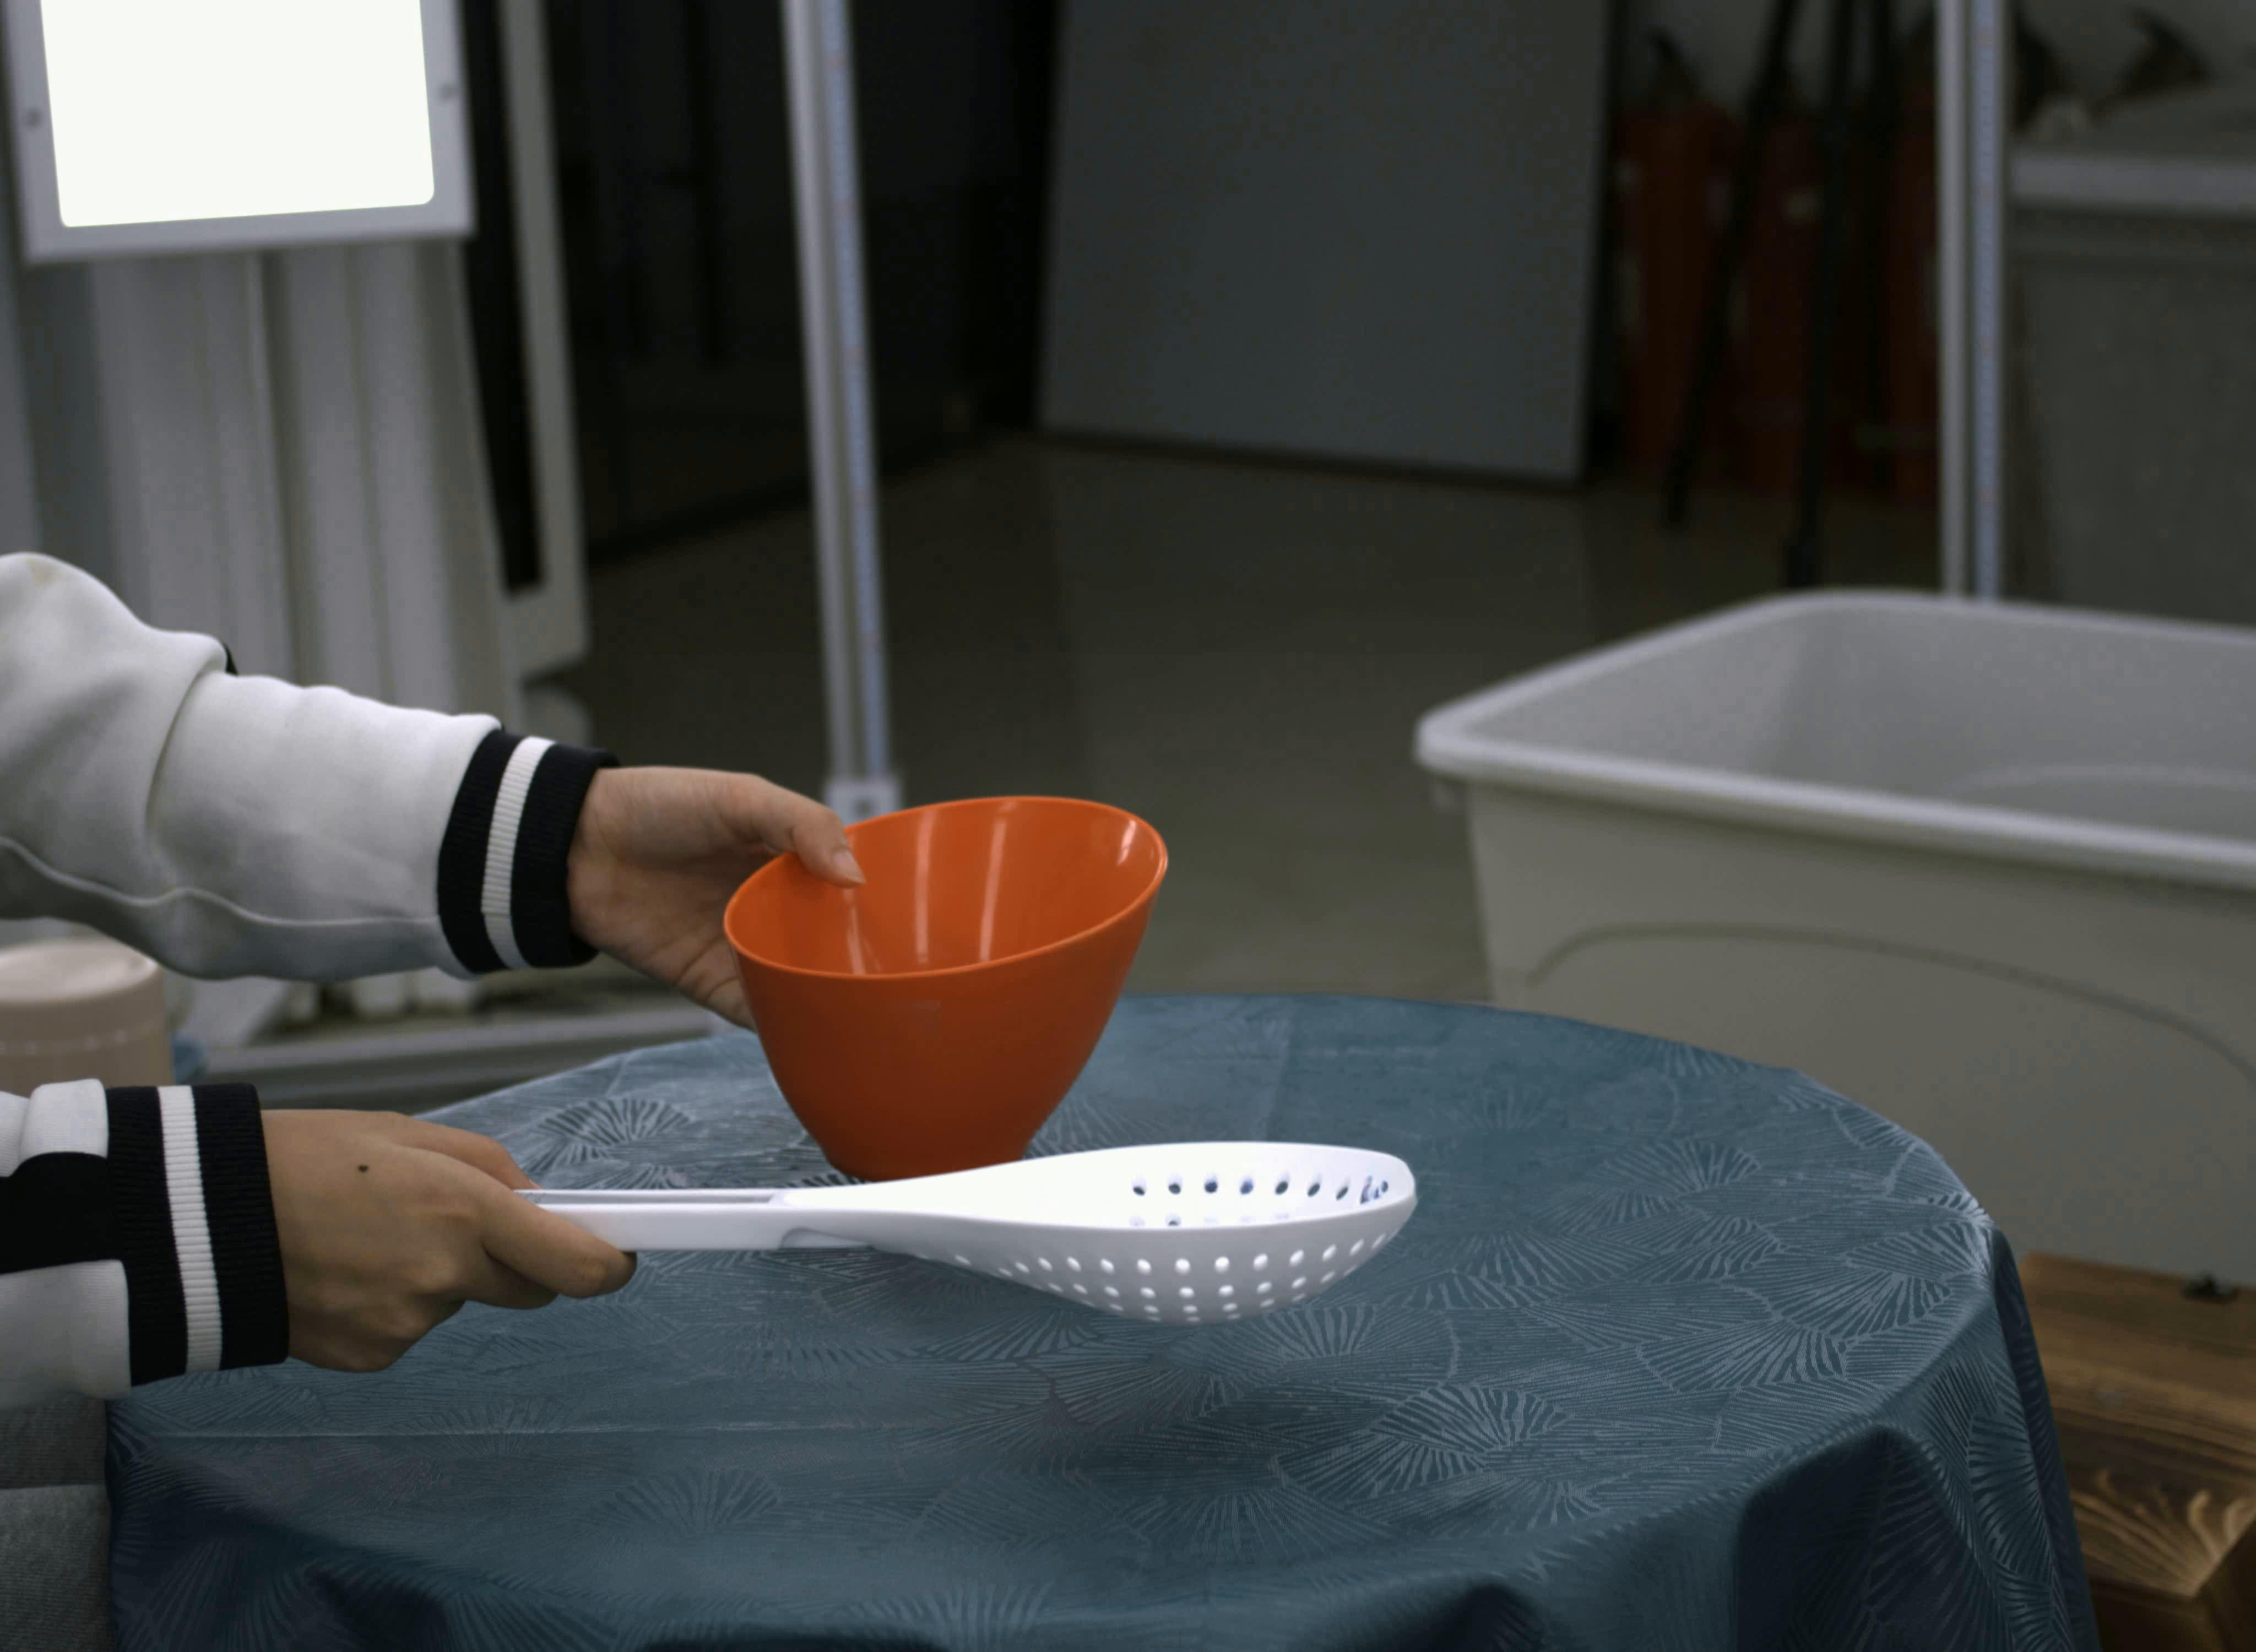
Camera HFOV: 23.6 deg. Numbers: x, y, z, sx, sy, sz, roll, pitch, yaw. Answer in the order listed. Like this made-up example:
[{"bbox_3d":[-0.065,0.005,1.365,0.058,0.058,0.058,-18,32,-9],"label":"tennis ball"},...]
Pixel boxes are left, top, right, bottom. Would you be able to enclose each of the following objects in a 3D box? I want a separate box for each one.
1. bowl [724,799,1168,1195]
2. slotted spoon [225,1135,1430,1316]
[{"bbox_3d":[-0.058,0.060,1.776,0.146,0.106,0.148,-1,17,-1],"label":"bowl"},{"bbox_3d":[-0.087,0.109,1.545,0.346,0.046,0.135,3,6,7],"label":"slotted spoon"}]
